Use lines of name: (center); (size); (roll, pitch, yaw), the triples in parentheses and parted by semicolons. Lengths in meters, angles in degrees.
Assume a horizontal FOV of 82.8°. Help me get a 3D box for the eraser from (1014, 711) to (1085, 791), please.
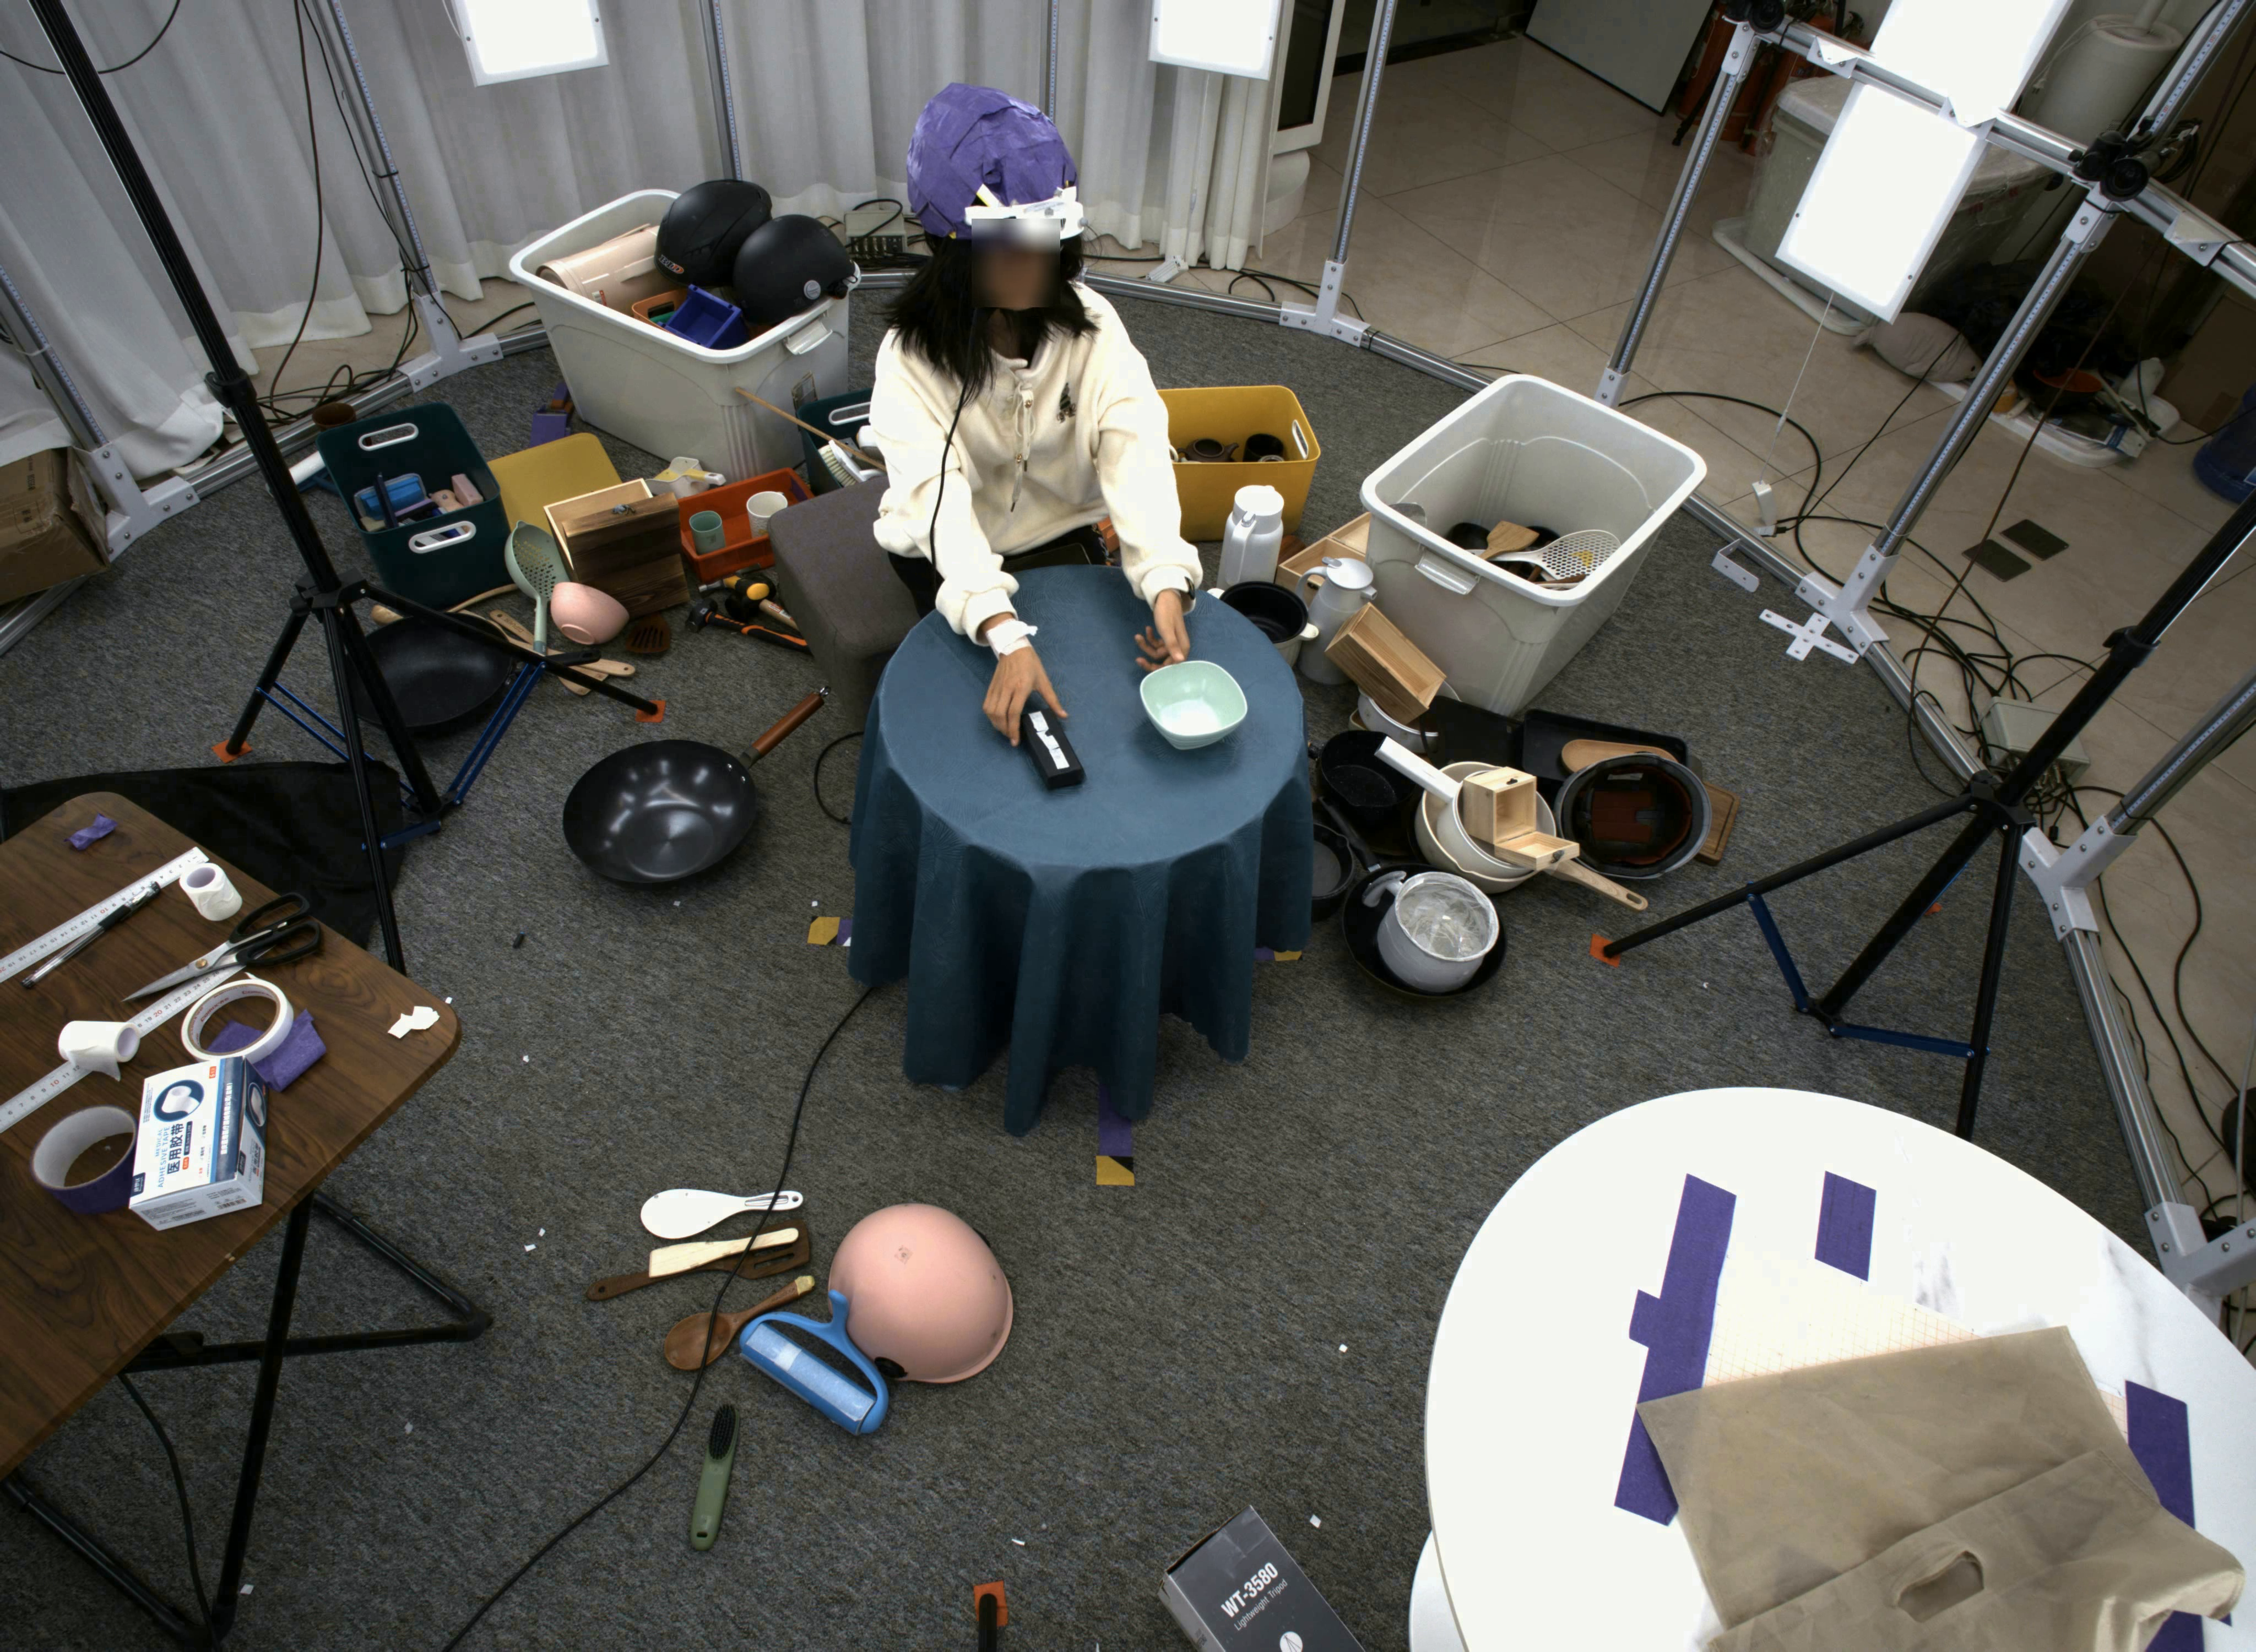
eraser: (-0.107, -0.103, 1.735); (0.053, 0.030, 0.128); (-16, 50, -19)

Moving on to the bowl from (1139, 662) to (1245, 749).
bowl: (0.085, -0.158, 1.777); (0.151, 0.057, 0.155); (4, 48, -5)
